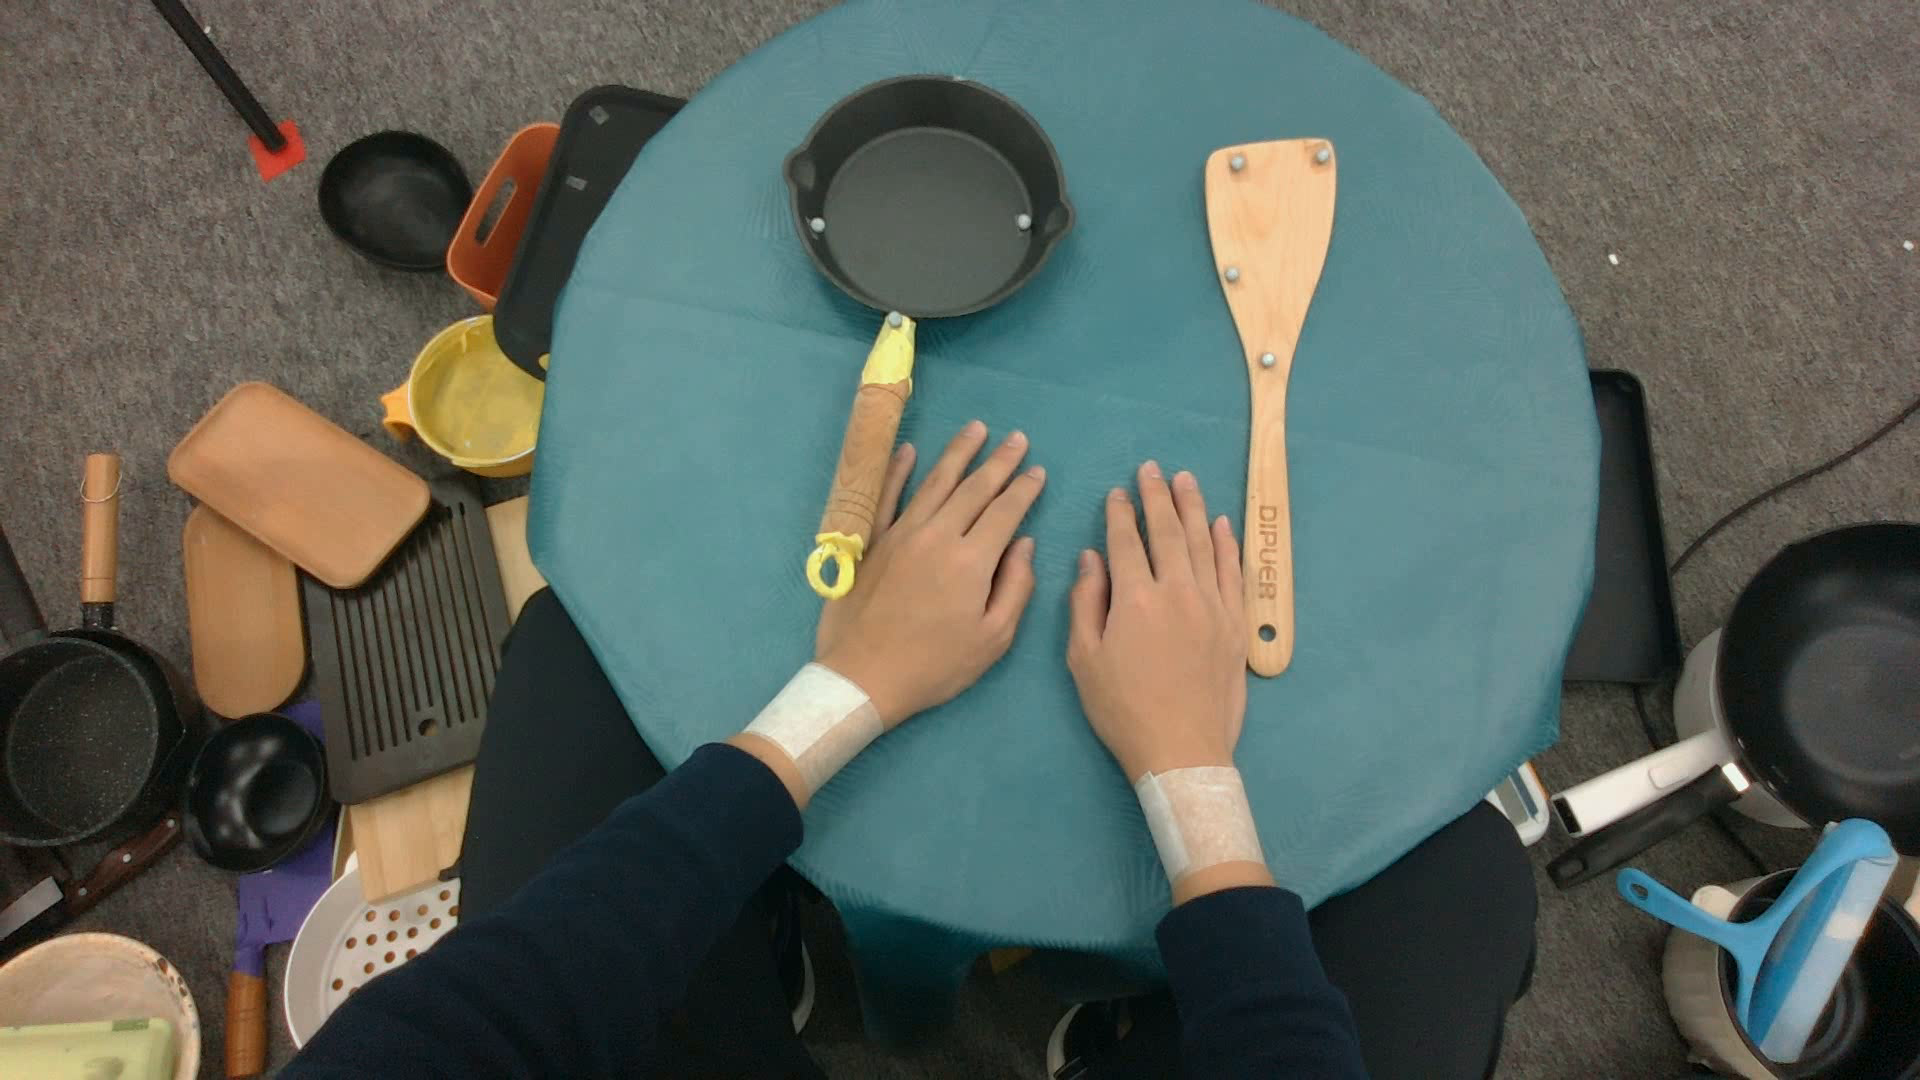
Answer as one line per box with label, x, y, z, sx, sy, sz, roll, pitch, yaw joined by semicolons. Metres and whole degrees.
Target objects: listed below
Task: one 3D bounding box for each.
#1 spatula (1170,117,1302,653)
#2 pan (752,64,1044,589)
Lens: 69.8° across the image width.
spatula;0.160;-0.097;0.783;0.080;0.016;0.328;2;72;-1
pan;-0.052;-0.123;0.763;0.169;0.049;0.325;12;71;1
